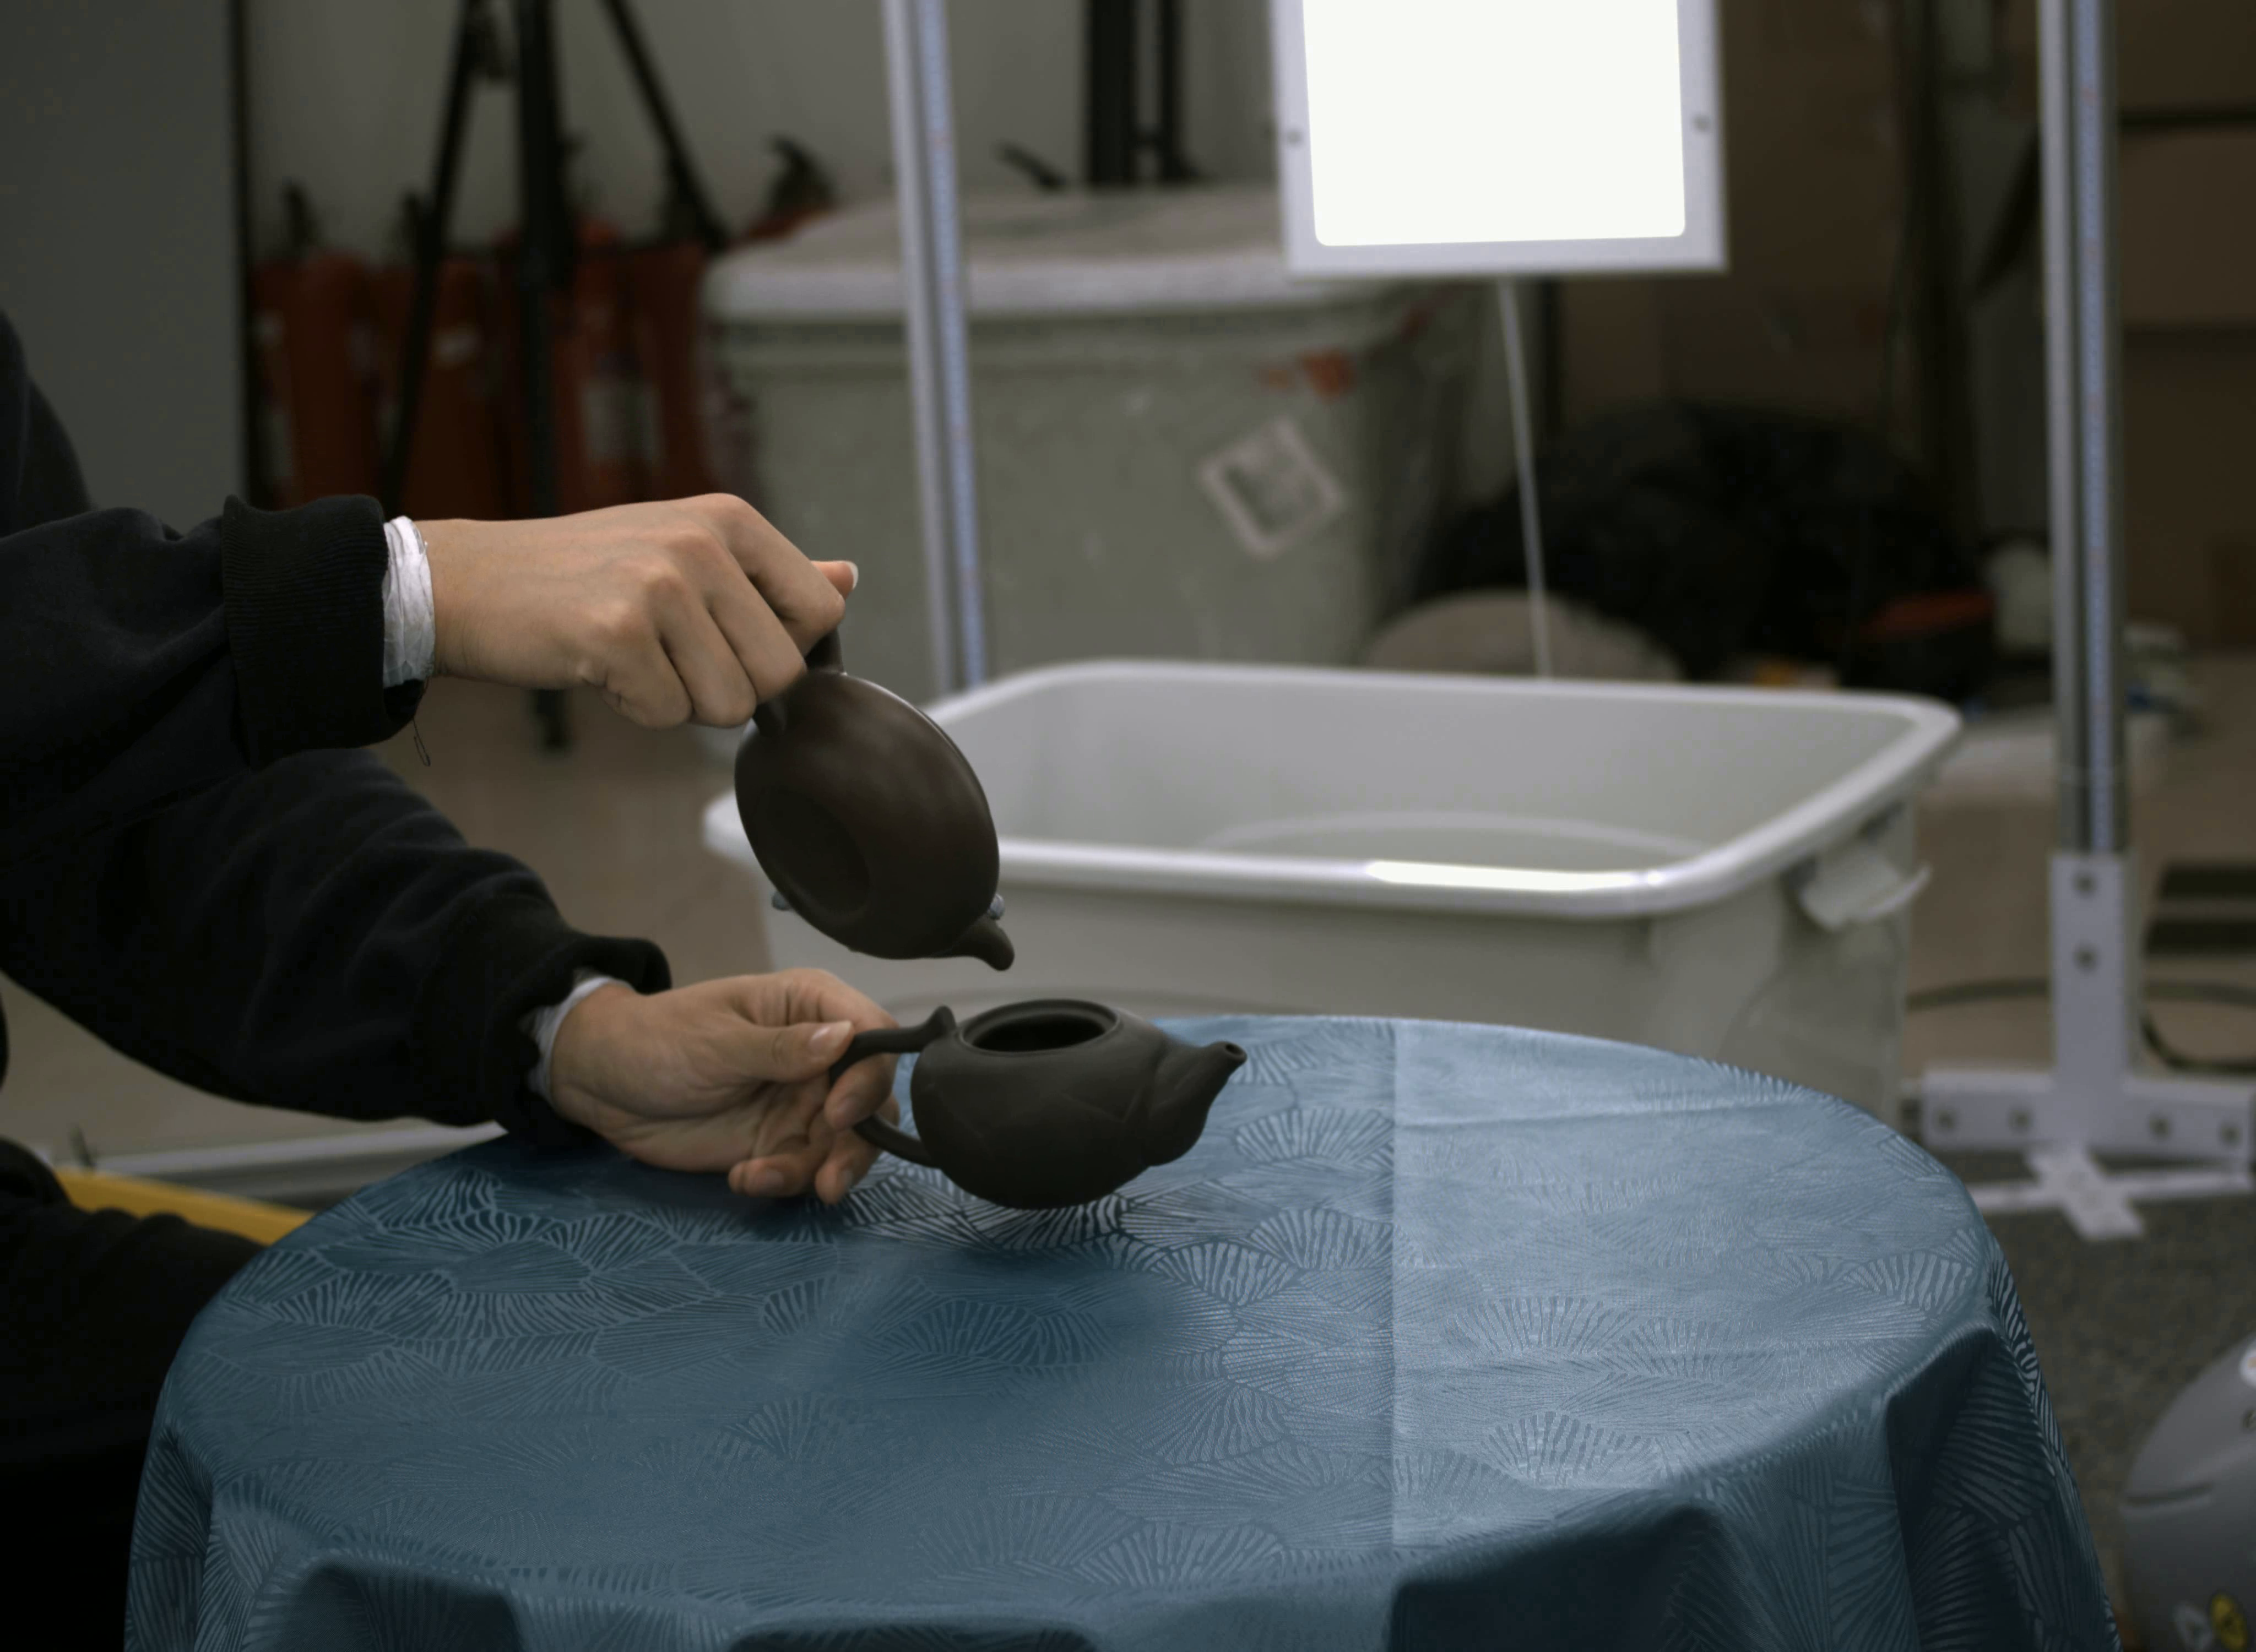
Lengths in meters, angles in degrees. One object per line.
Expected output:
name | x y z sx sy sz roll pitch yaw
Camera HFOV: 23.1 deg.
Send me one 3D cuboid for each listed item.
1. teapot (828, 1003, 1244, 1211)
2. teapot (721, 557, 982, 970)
teapot | -0.032 0.093 1.875 0.156 0.064 0.090 1 15 24
teapot | -0.091 -0.014 1.808 0.105 0.154 0.052 9 29 44
